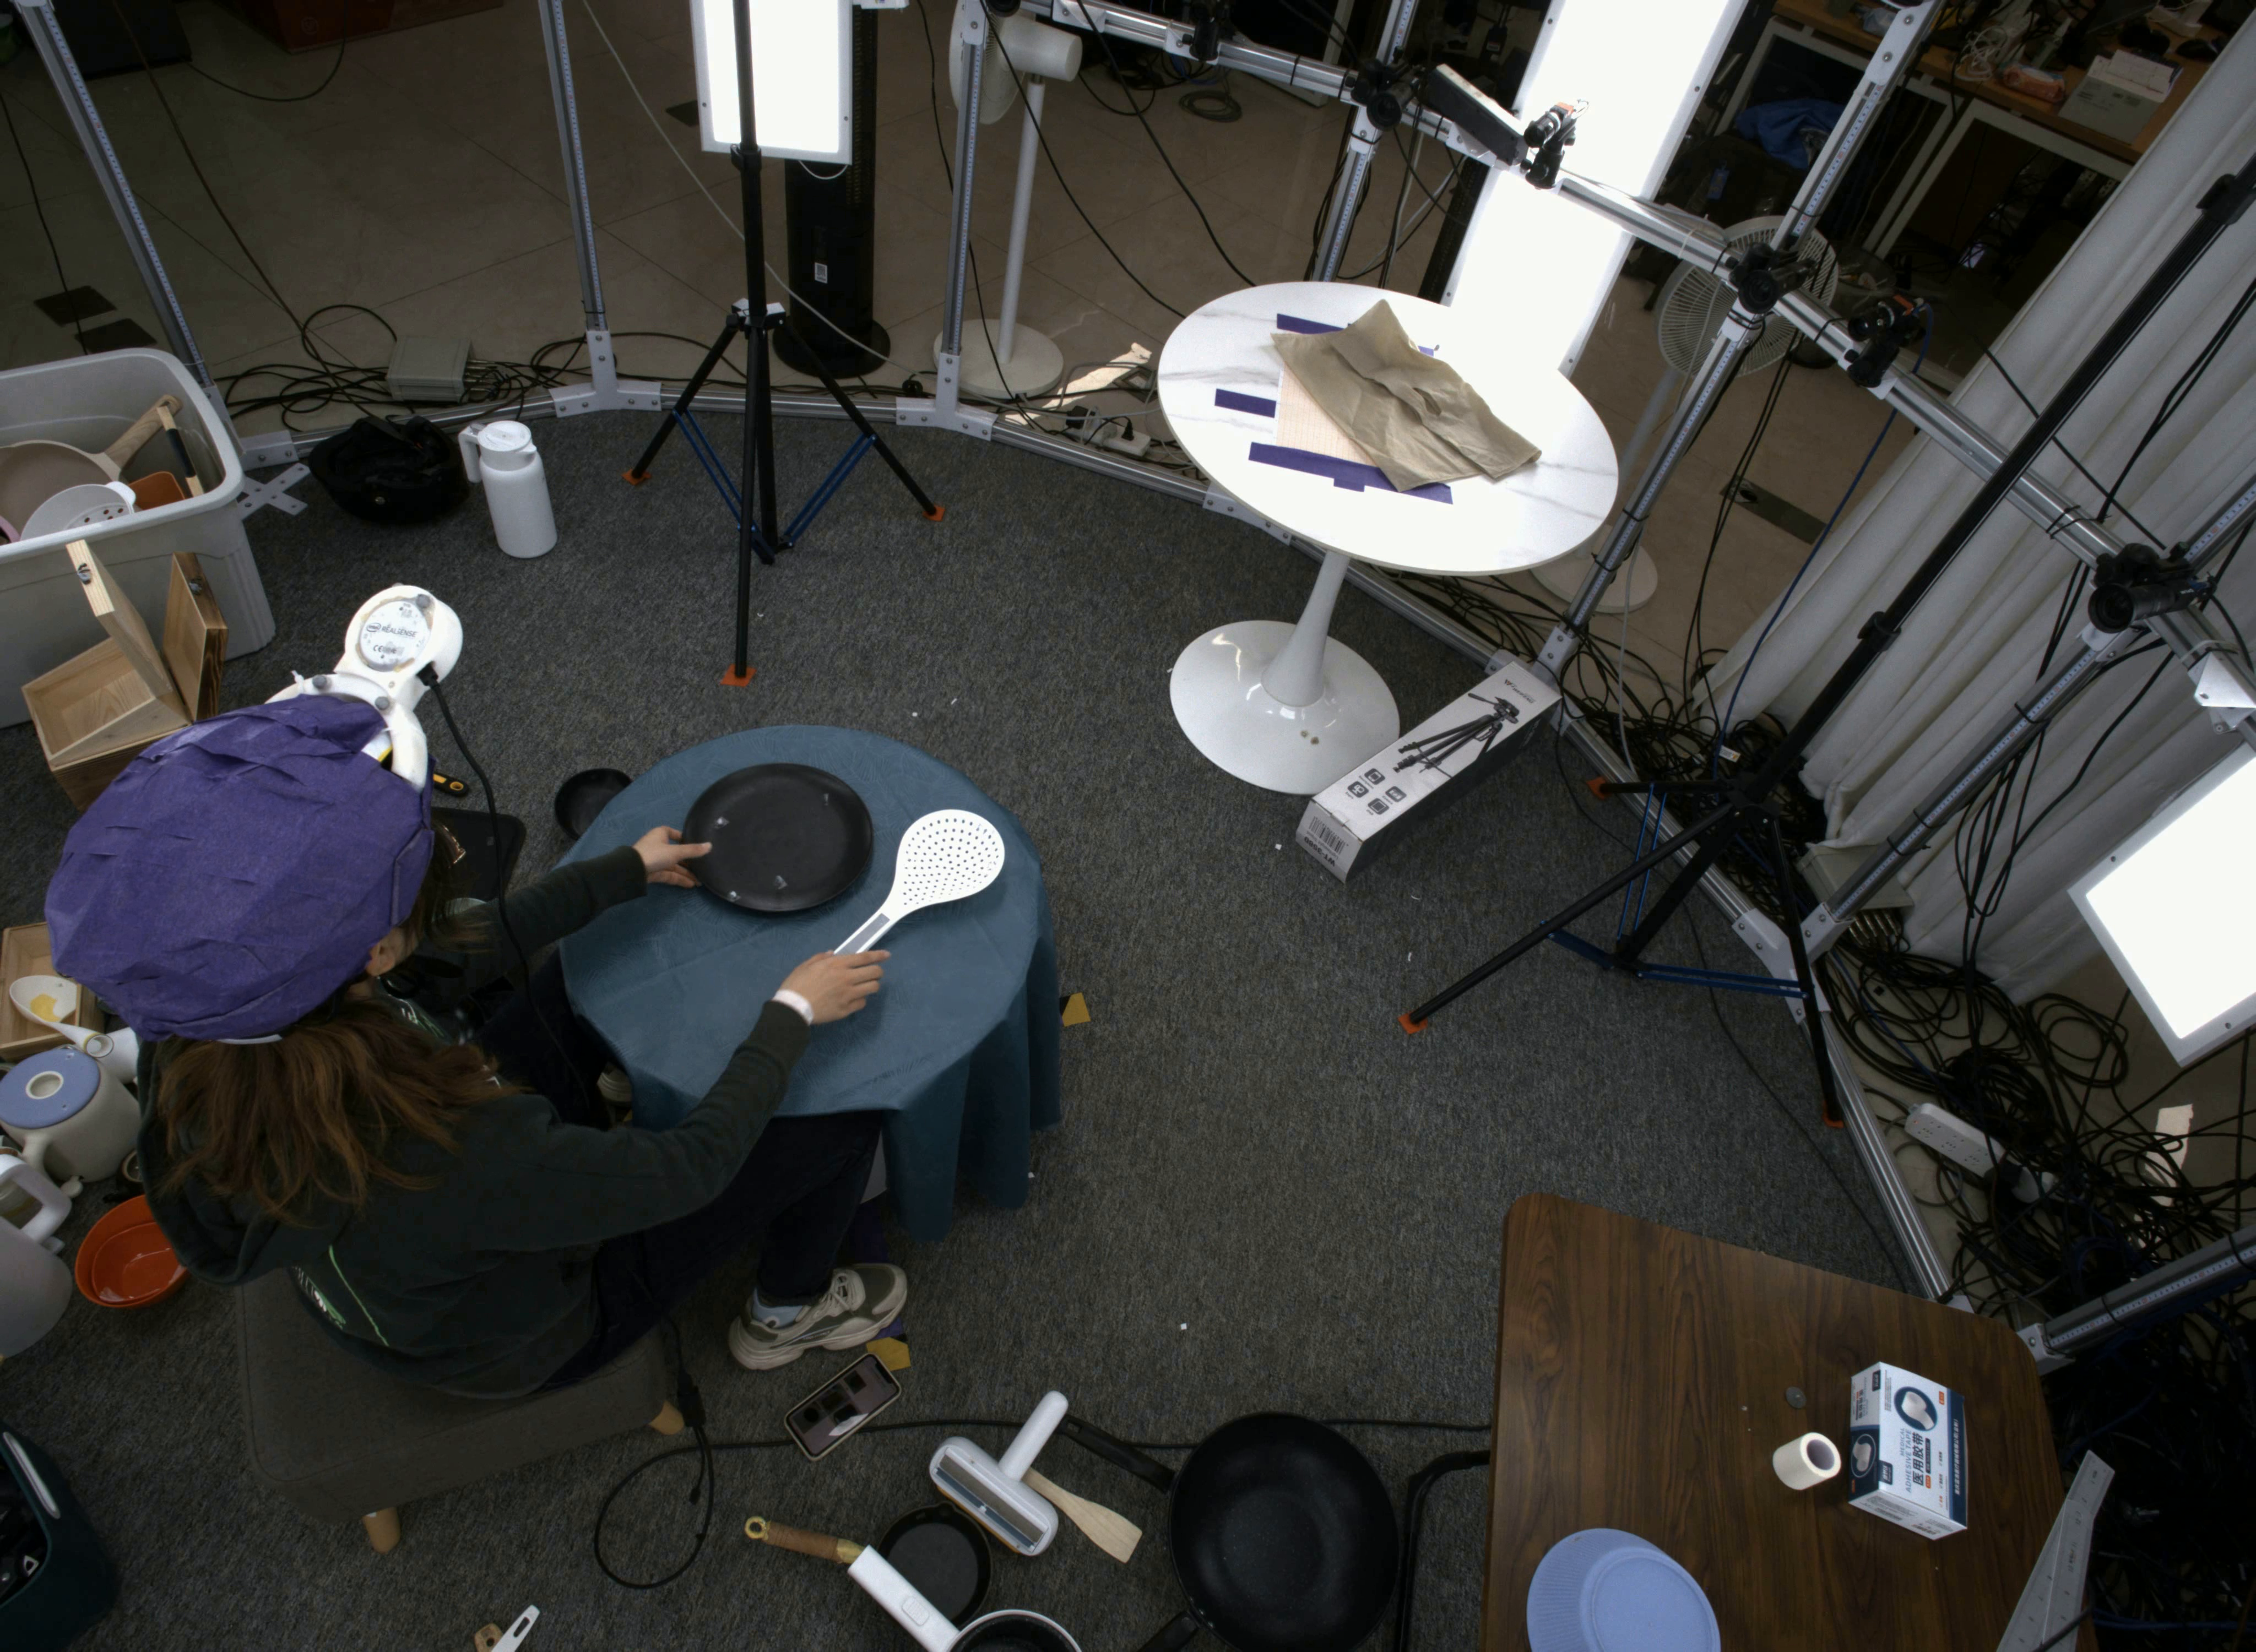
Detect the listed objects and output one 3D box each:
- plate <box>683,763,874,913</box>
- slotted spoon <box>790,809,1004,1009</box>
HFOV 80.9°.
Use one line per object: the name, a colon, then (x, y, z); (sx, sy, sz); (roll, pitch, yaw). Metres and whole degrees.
plate: (-0.456, 0.016, 1.694); (0.244, 0.024, 0.240); (8, 52, -9)
slotted spoon: (-0.296, 0.104, 1.655); (0.133, 0.047, 0.349); (35, 54, 15)
